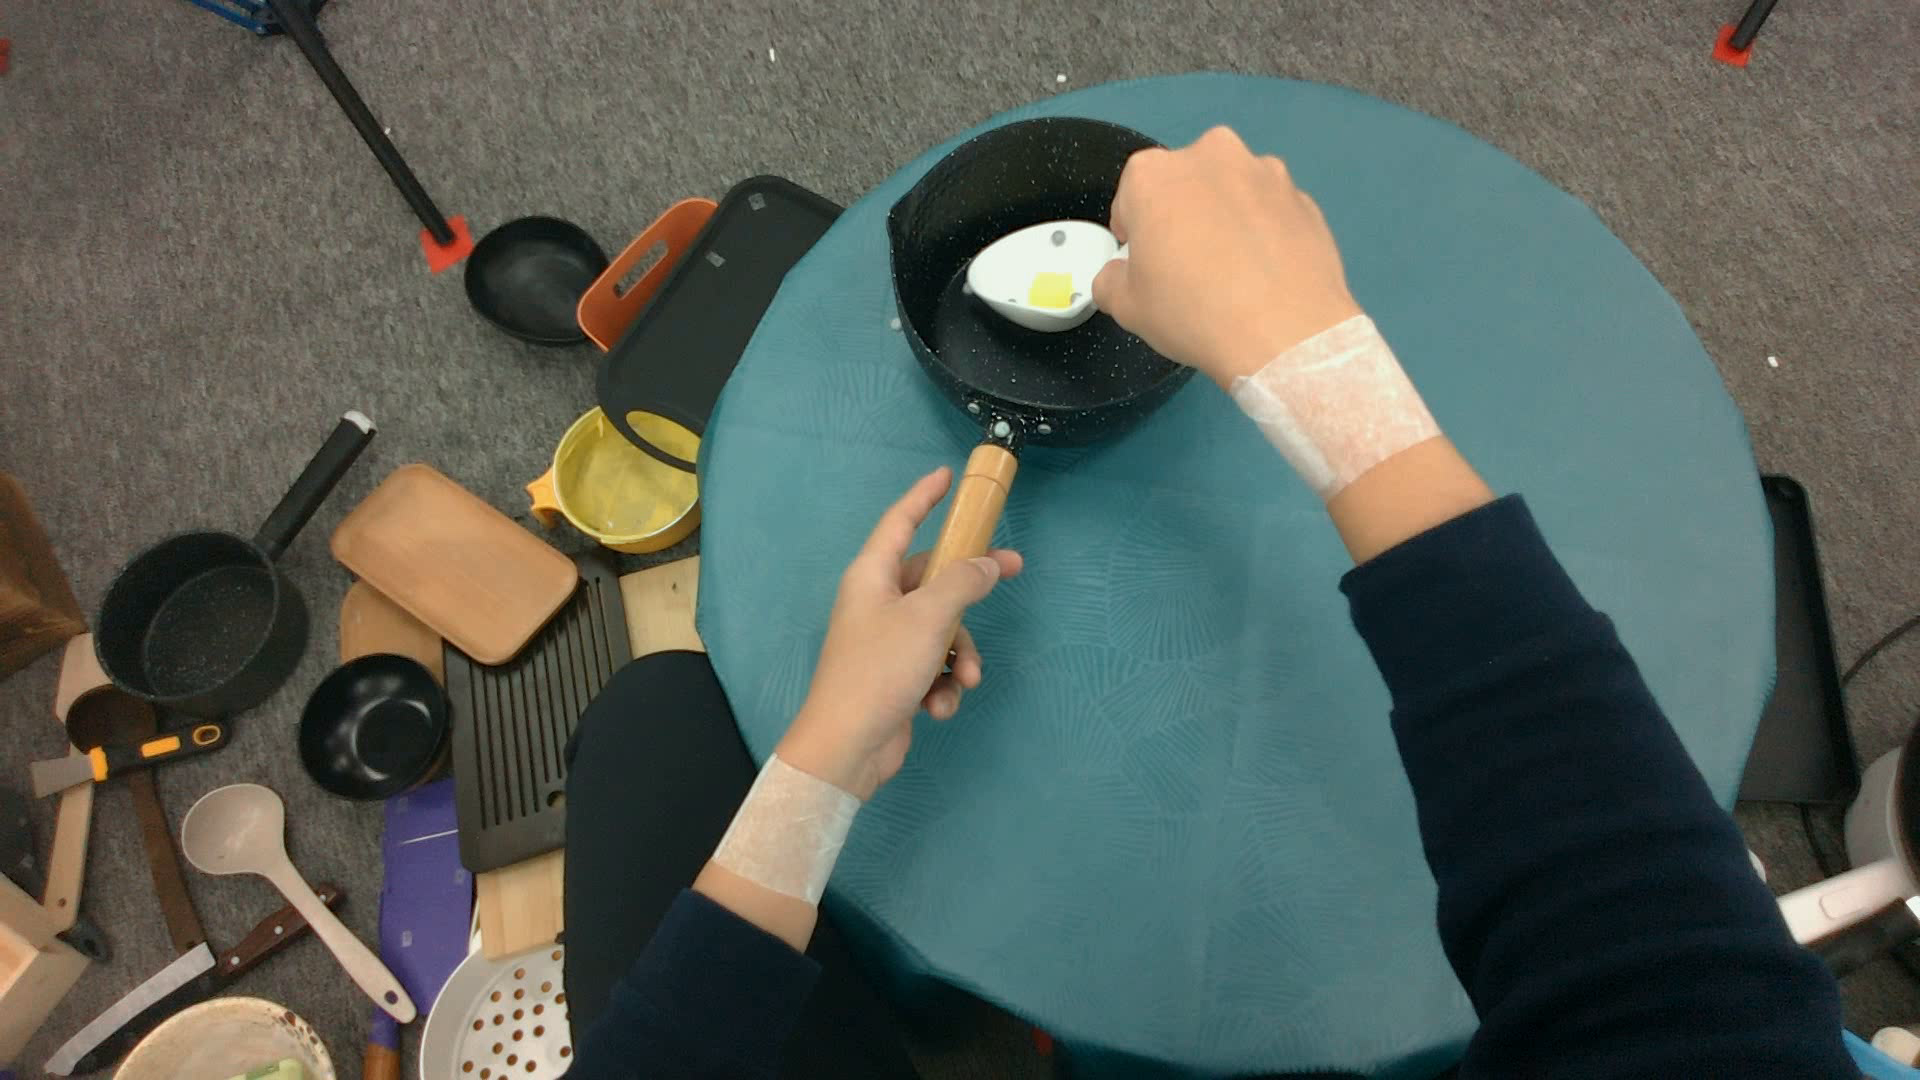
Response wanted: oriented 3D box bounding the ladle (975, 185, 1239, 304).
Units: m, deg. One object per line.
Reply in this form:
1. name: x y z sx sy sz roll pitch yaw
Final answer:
1. ladle: 0.072 -0.159 0.692 0.090 0.293 0.070 -10 97 -7

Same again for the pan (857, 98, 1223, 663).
1. pan: 0.022 -0.080 0.743 0.207 0.108 0.344 15 69 6
